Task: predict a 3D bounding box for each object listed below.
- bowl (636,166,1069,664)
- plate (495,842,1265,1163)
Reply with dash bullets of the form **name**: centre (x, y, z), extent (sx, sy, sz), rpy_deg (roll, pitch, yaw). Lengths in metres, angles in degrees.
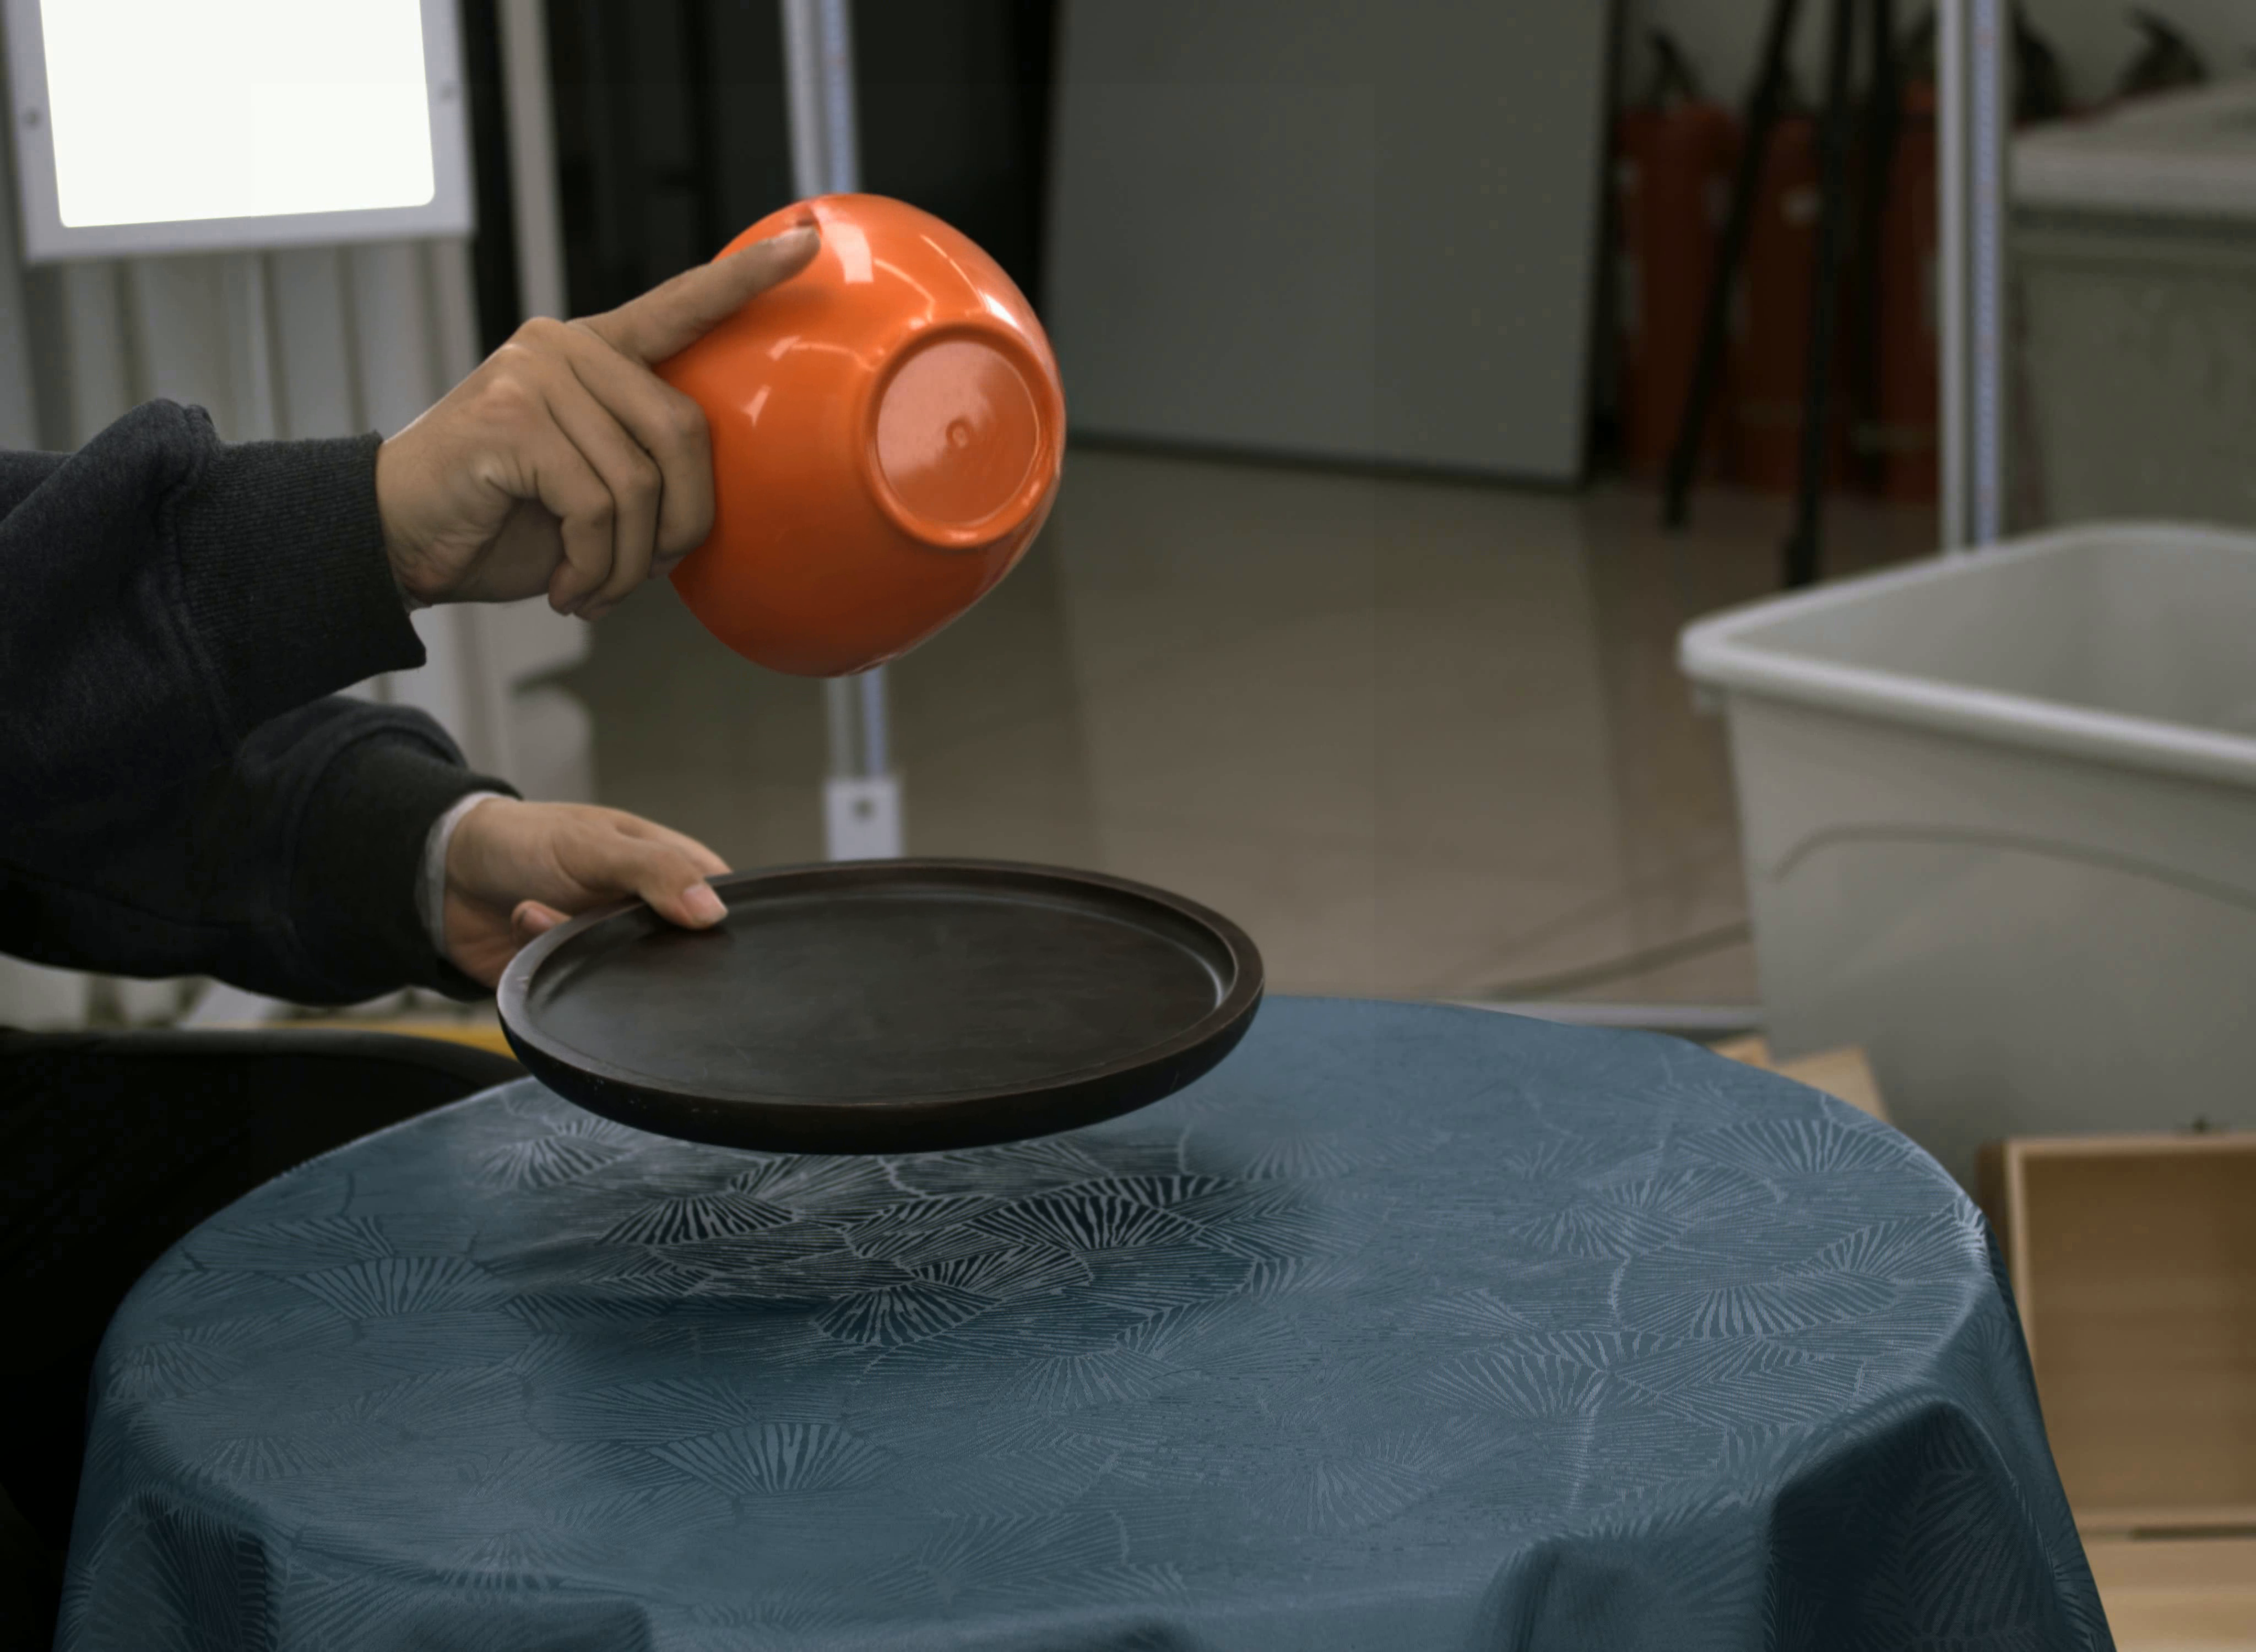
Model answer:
- **bowl**: centre (-0.065, -0.118, 1.586), extent (0.145, 0.150, 0.106), rpy_deg (-10, 11, -28)
- **plate**: centre (-0.080, 0.058, 1.758), extent (0.251, 0.029, 0.255), rpy_deg (-3, 18, 0)
